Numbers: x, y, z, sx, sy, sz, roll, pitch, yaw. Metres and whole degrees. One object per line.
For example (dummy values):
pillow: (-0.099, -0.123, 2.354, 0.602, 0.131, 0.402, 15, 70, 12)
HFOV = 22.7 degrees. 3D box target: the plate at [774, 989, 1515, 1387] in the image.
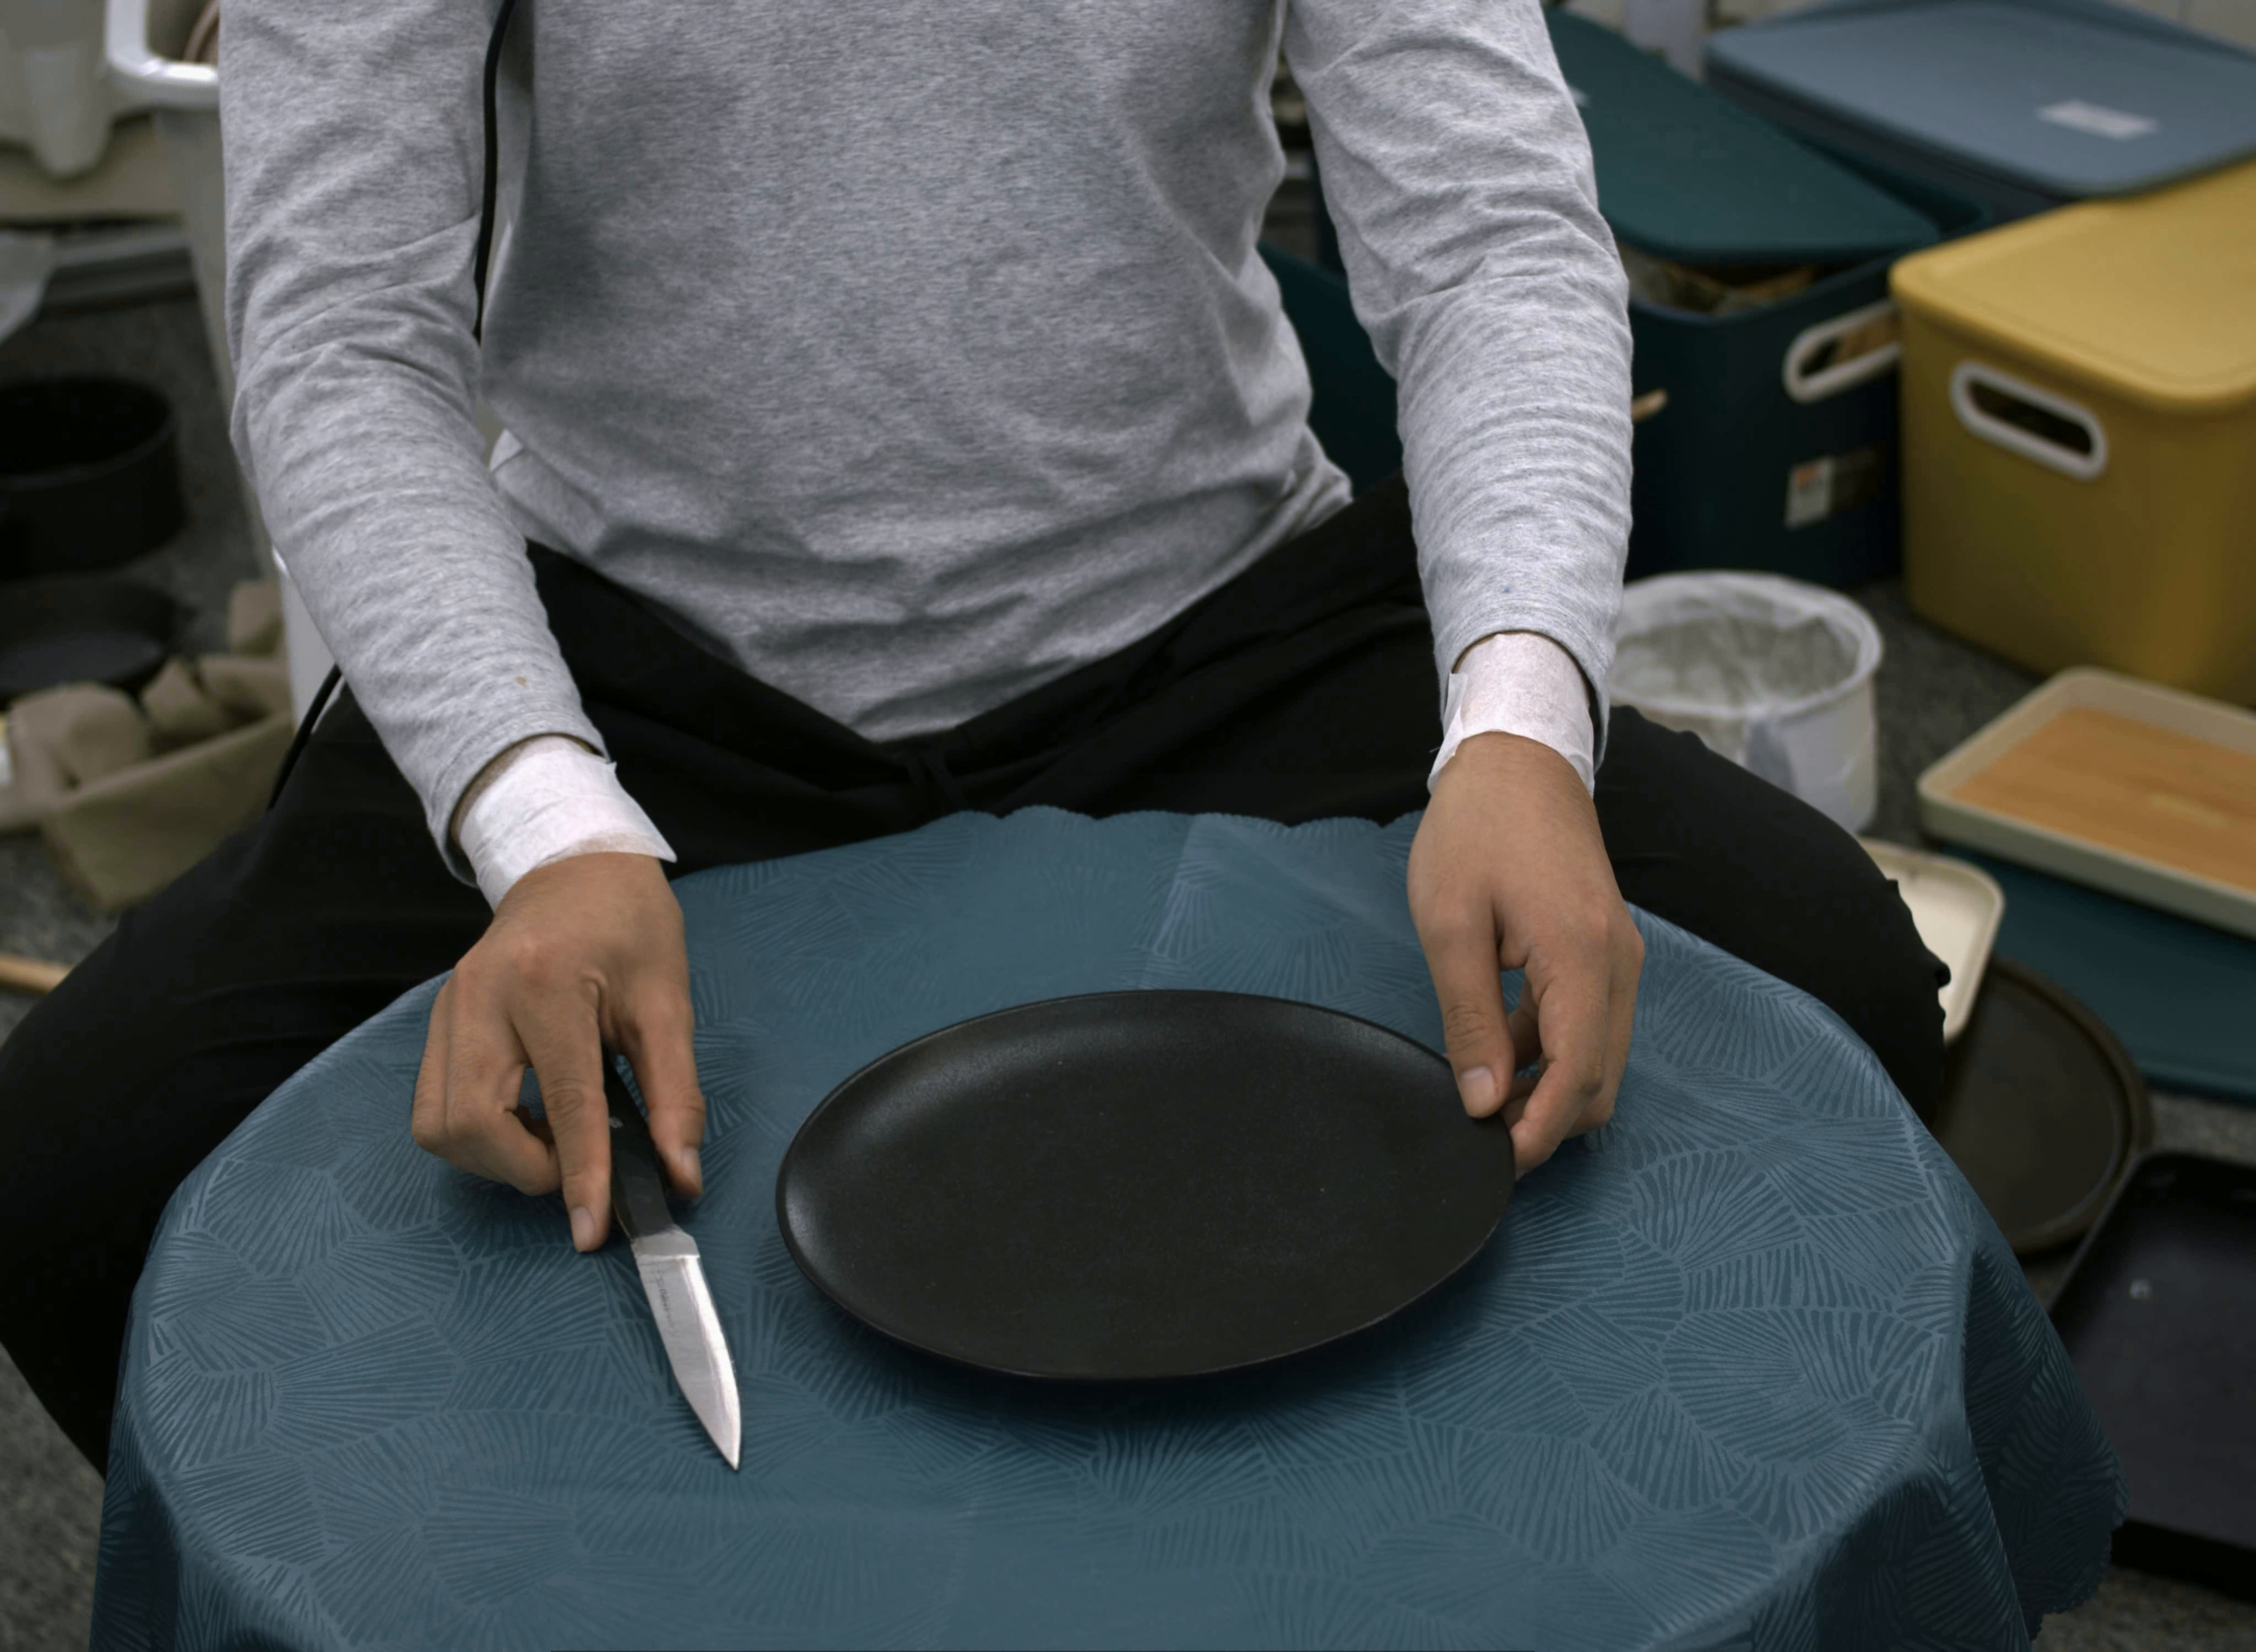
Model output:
plate: (0.005, 0.122, 1.836, 0.243, 0.023, 0.248, -2, 27, 1)

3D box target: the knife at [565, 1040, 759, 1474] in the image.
knife: (-0.152, 0.139, 1.820, 0.024, 0.016, 0.241, -3, 31, -17)
